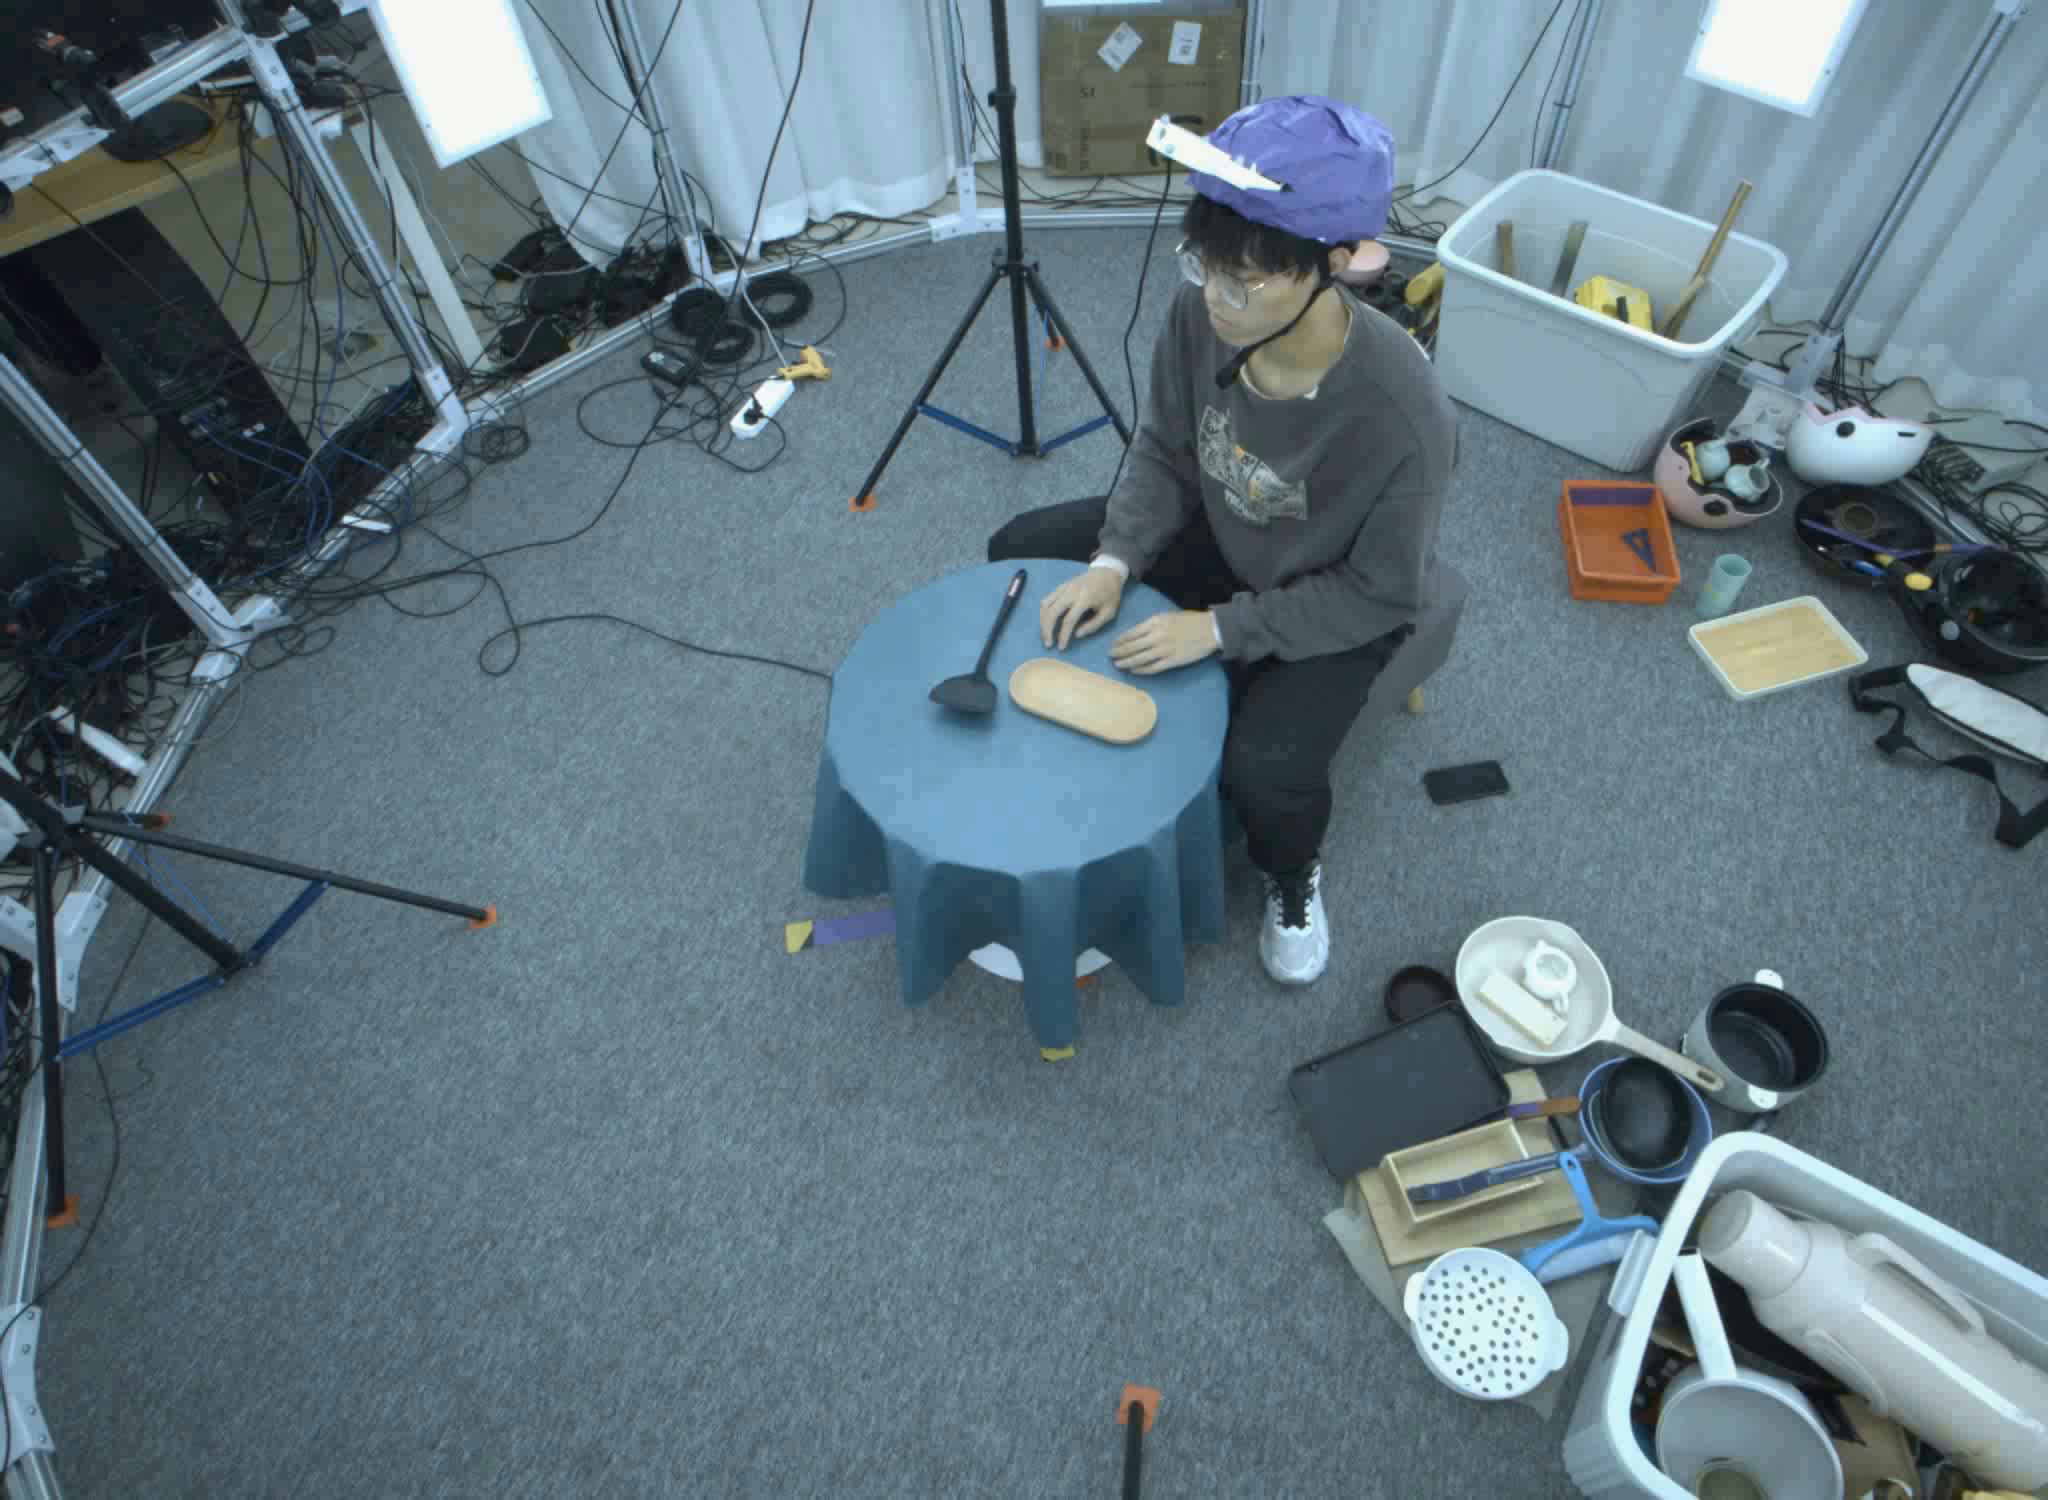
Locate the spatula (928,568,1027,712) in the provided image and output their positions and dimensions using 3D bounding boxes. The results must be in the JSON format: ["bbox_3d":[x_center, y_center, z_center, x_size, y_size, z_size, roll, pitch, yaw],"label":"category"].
[{"bbox_3d":[-0.050,-0.177,1.891,0.099,0.041,0.325,14,56,10],"label":"spatula"}]

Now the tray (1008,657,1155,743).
[{"bbox_3d":[0.084,-0.074,1.826,0.228,0.020,0.102,20,57,17],"label":"tray"}]
